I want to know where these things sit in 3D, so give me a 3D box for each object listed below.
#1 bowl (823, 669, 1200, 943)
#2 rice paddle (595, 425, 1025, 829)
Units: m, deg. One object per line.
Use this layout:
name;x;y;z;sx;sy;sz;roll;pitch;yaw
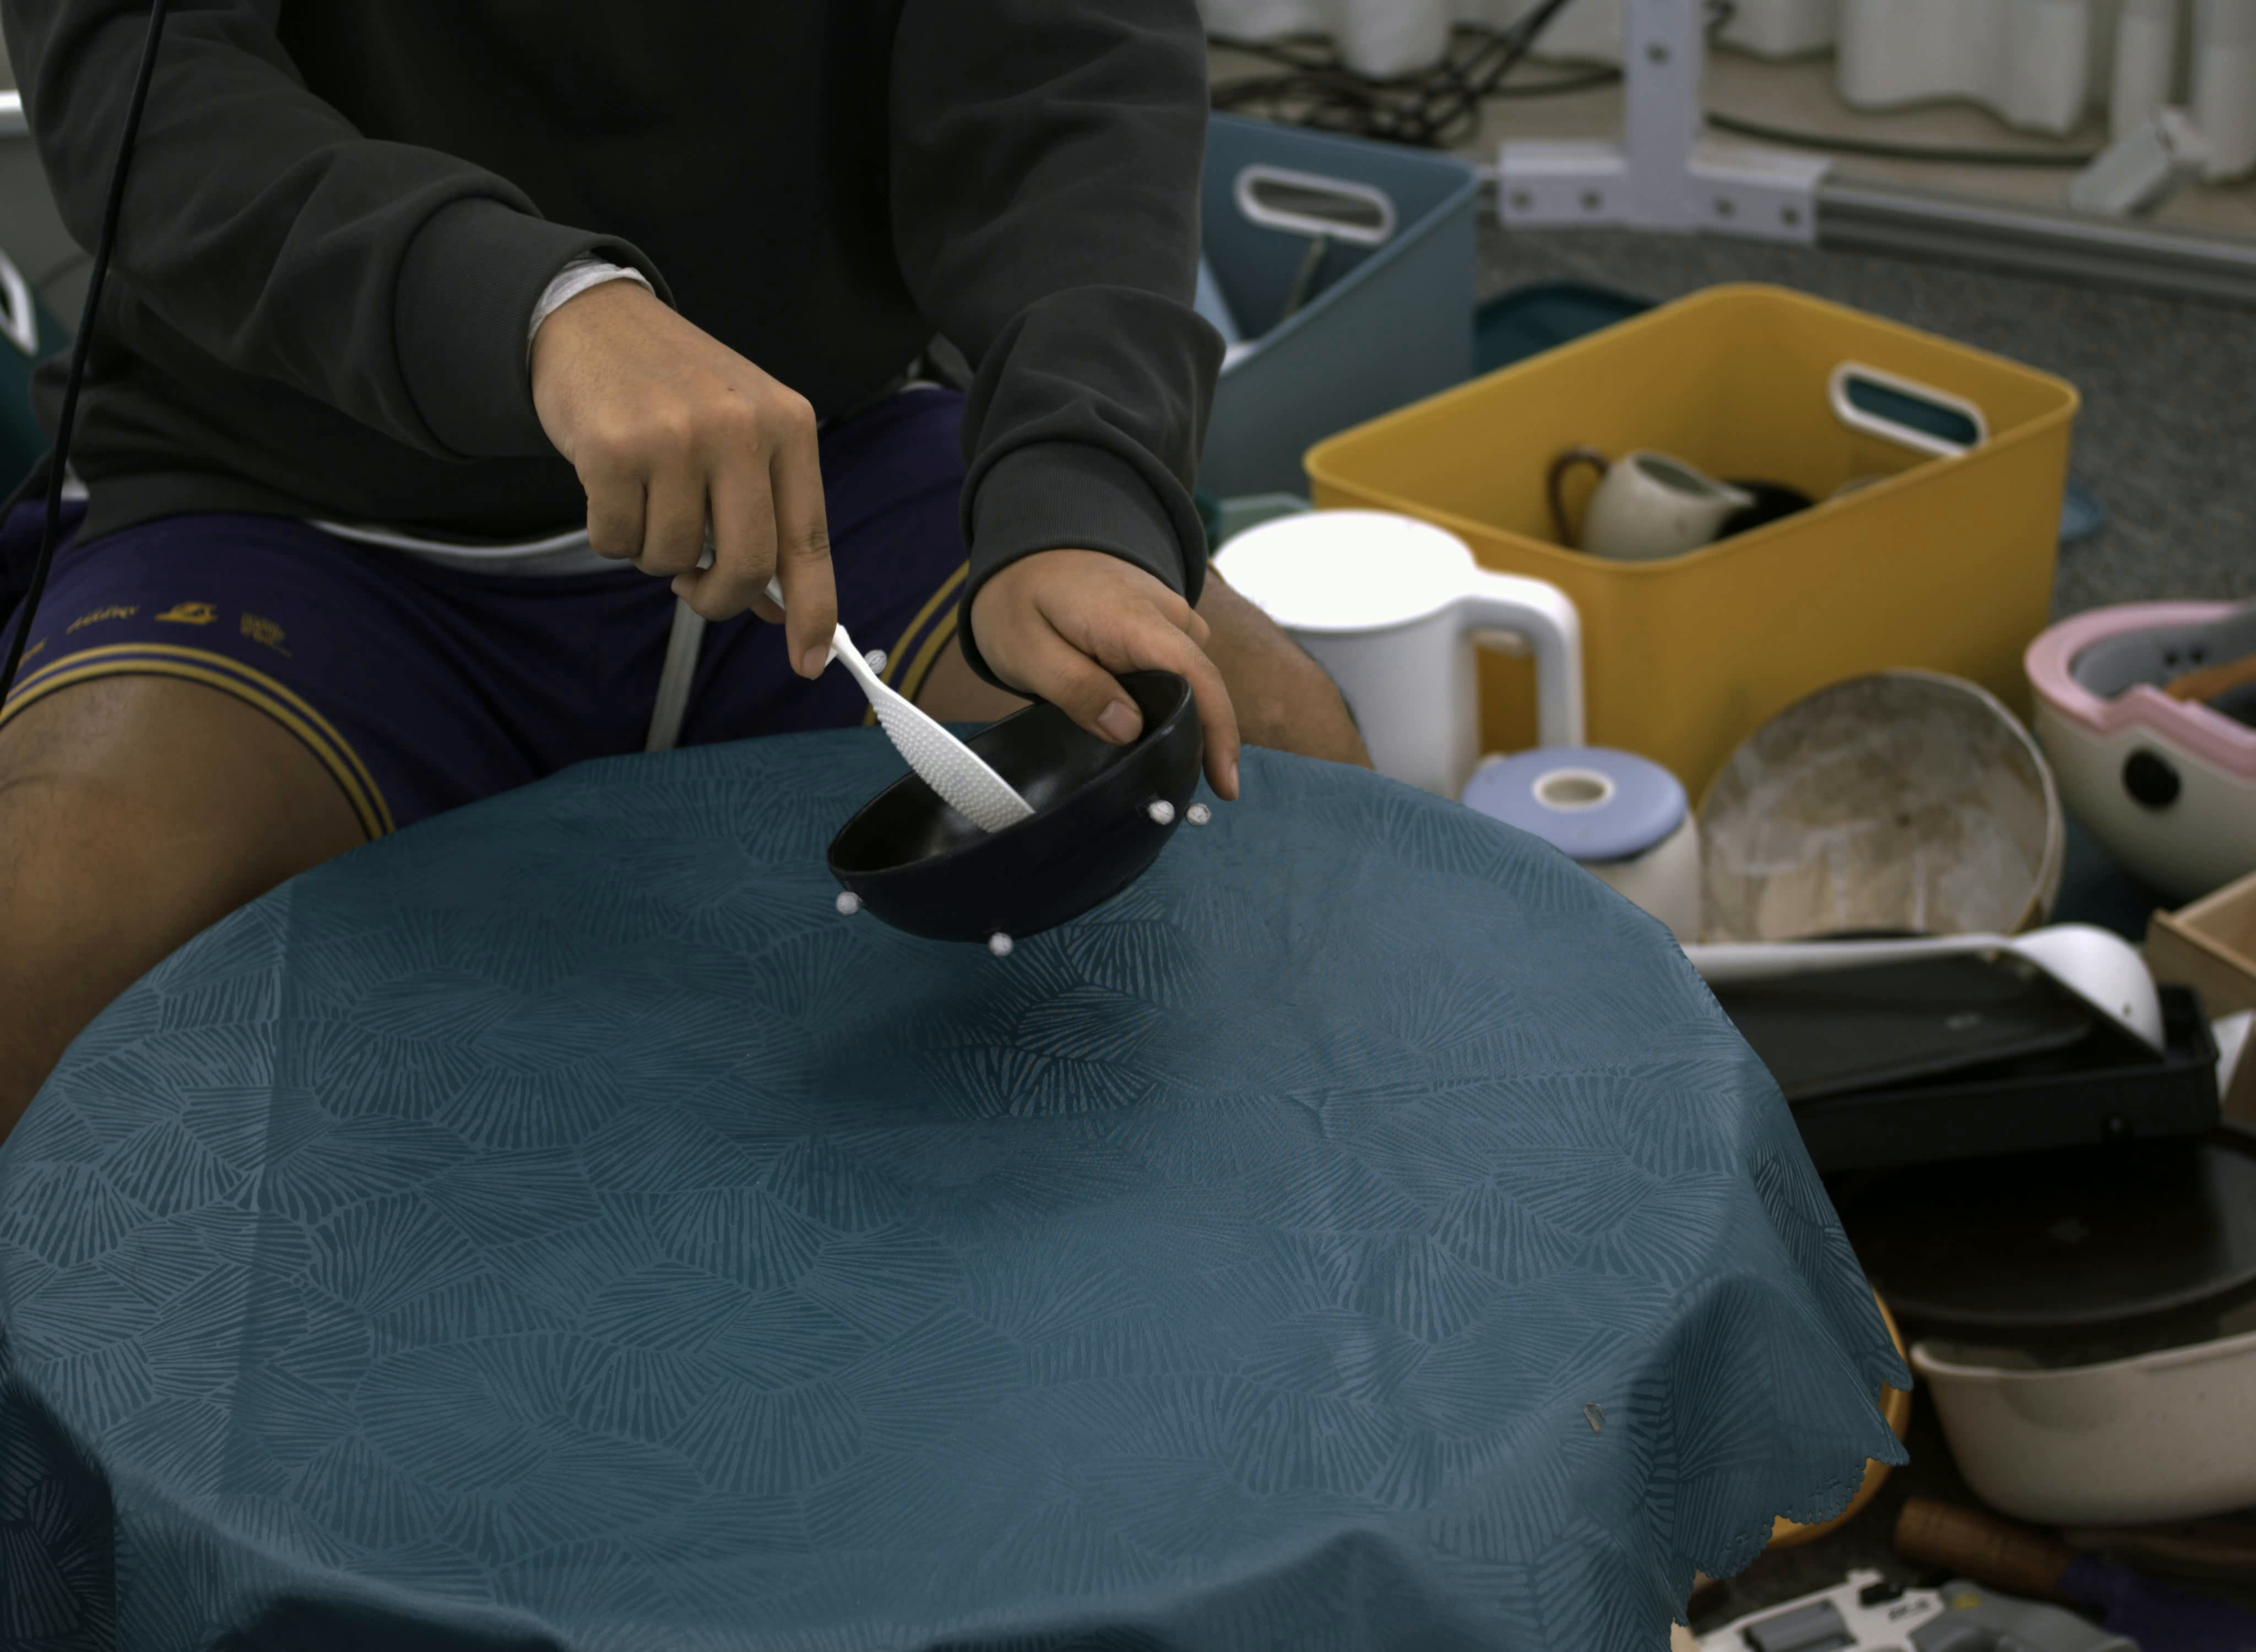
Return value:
bowl;-0.032;0.001;1.915;0.139;0.049;0.141;-25;14;7
rice paddle;-0.095;-0.057;1.912;0.029;0.205;0.068;-48;4;-5
